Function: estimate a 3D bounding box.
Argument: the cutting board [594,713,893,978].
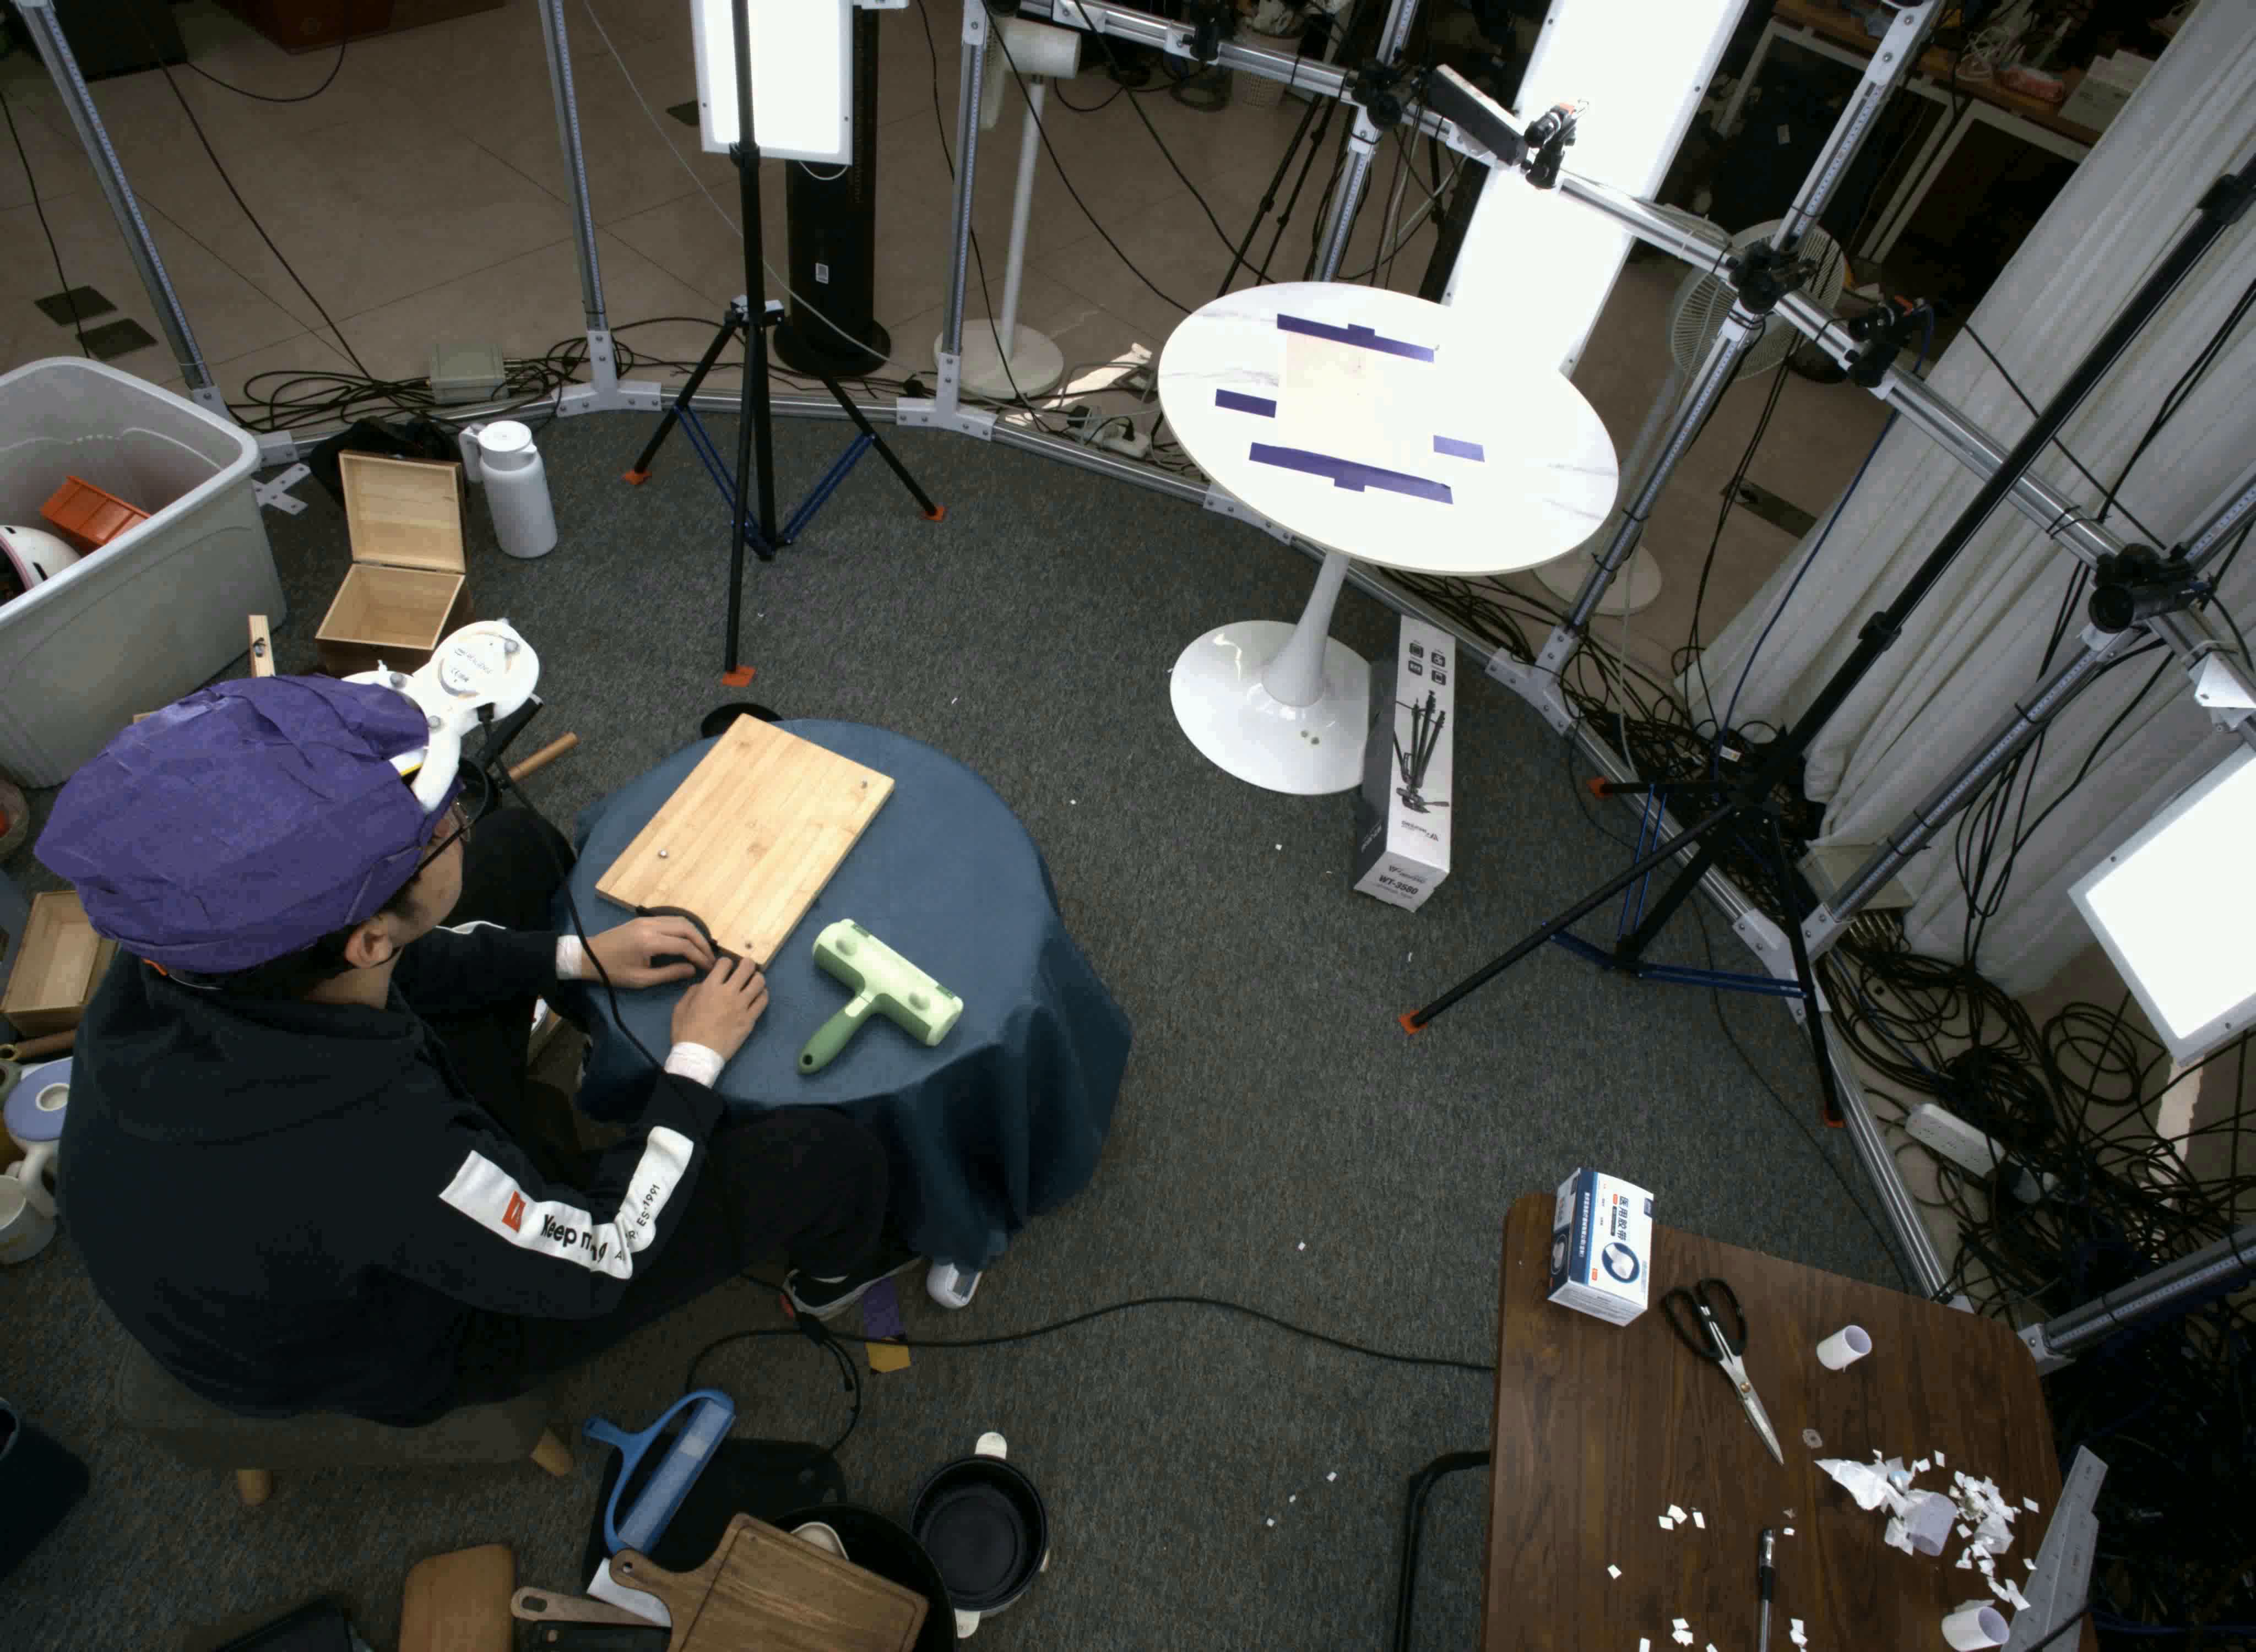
[{"bbox_3d":[-0.495,0.014,1.690,0.248,0.024,0.346,24,52,3],"label":"cutting board"}]

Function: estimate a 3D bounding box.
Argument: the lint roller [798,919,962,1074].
[{"bbox_3d":[-0.326,0.214,1.548,0.195,0.084,0.183,35,49,12],"label":"lint roller"}]
